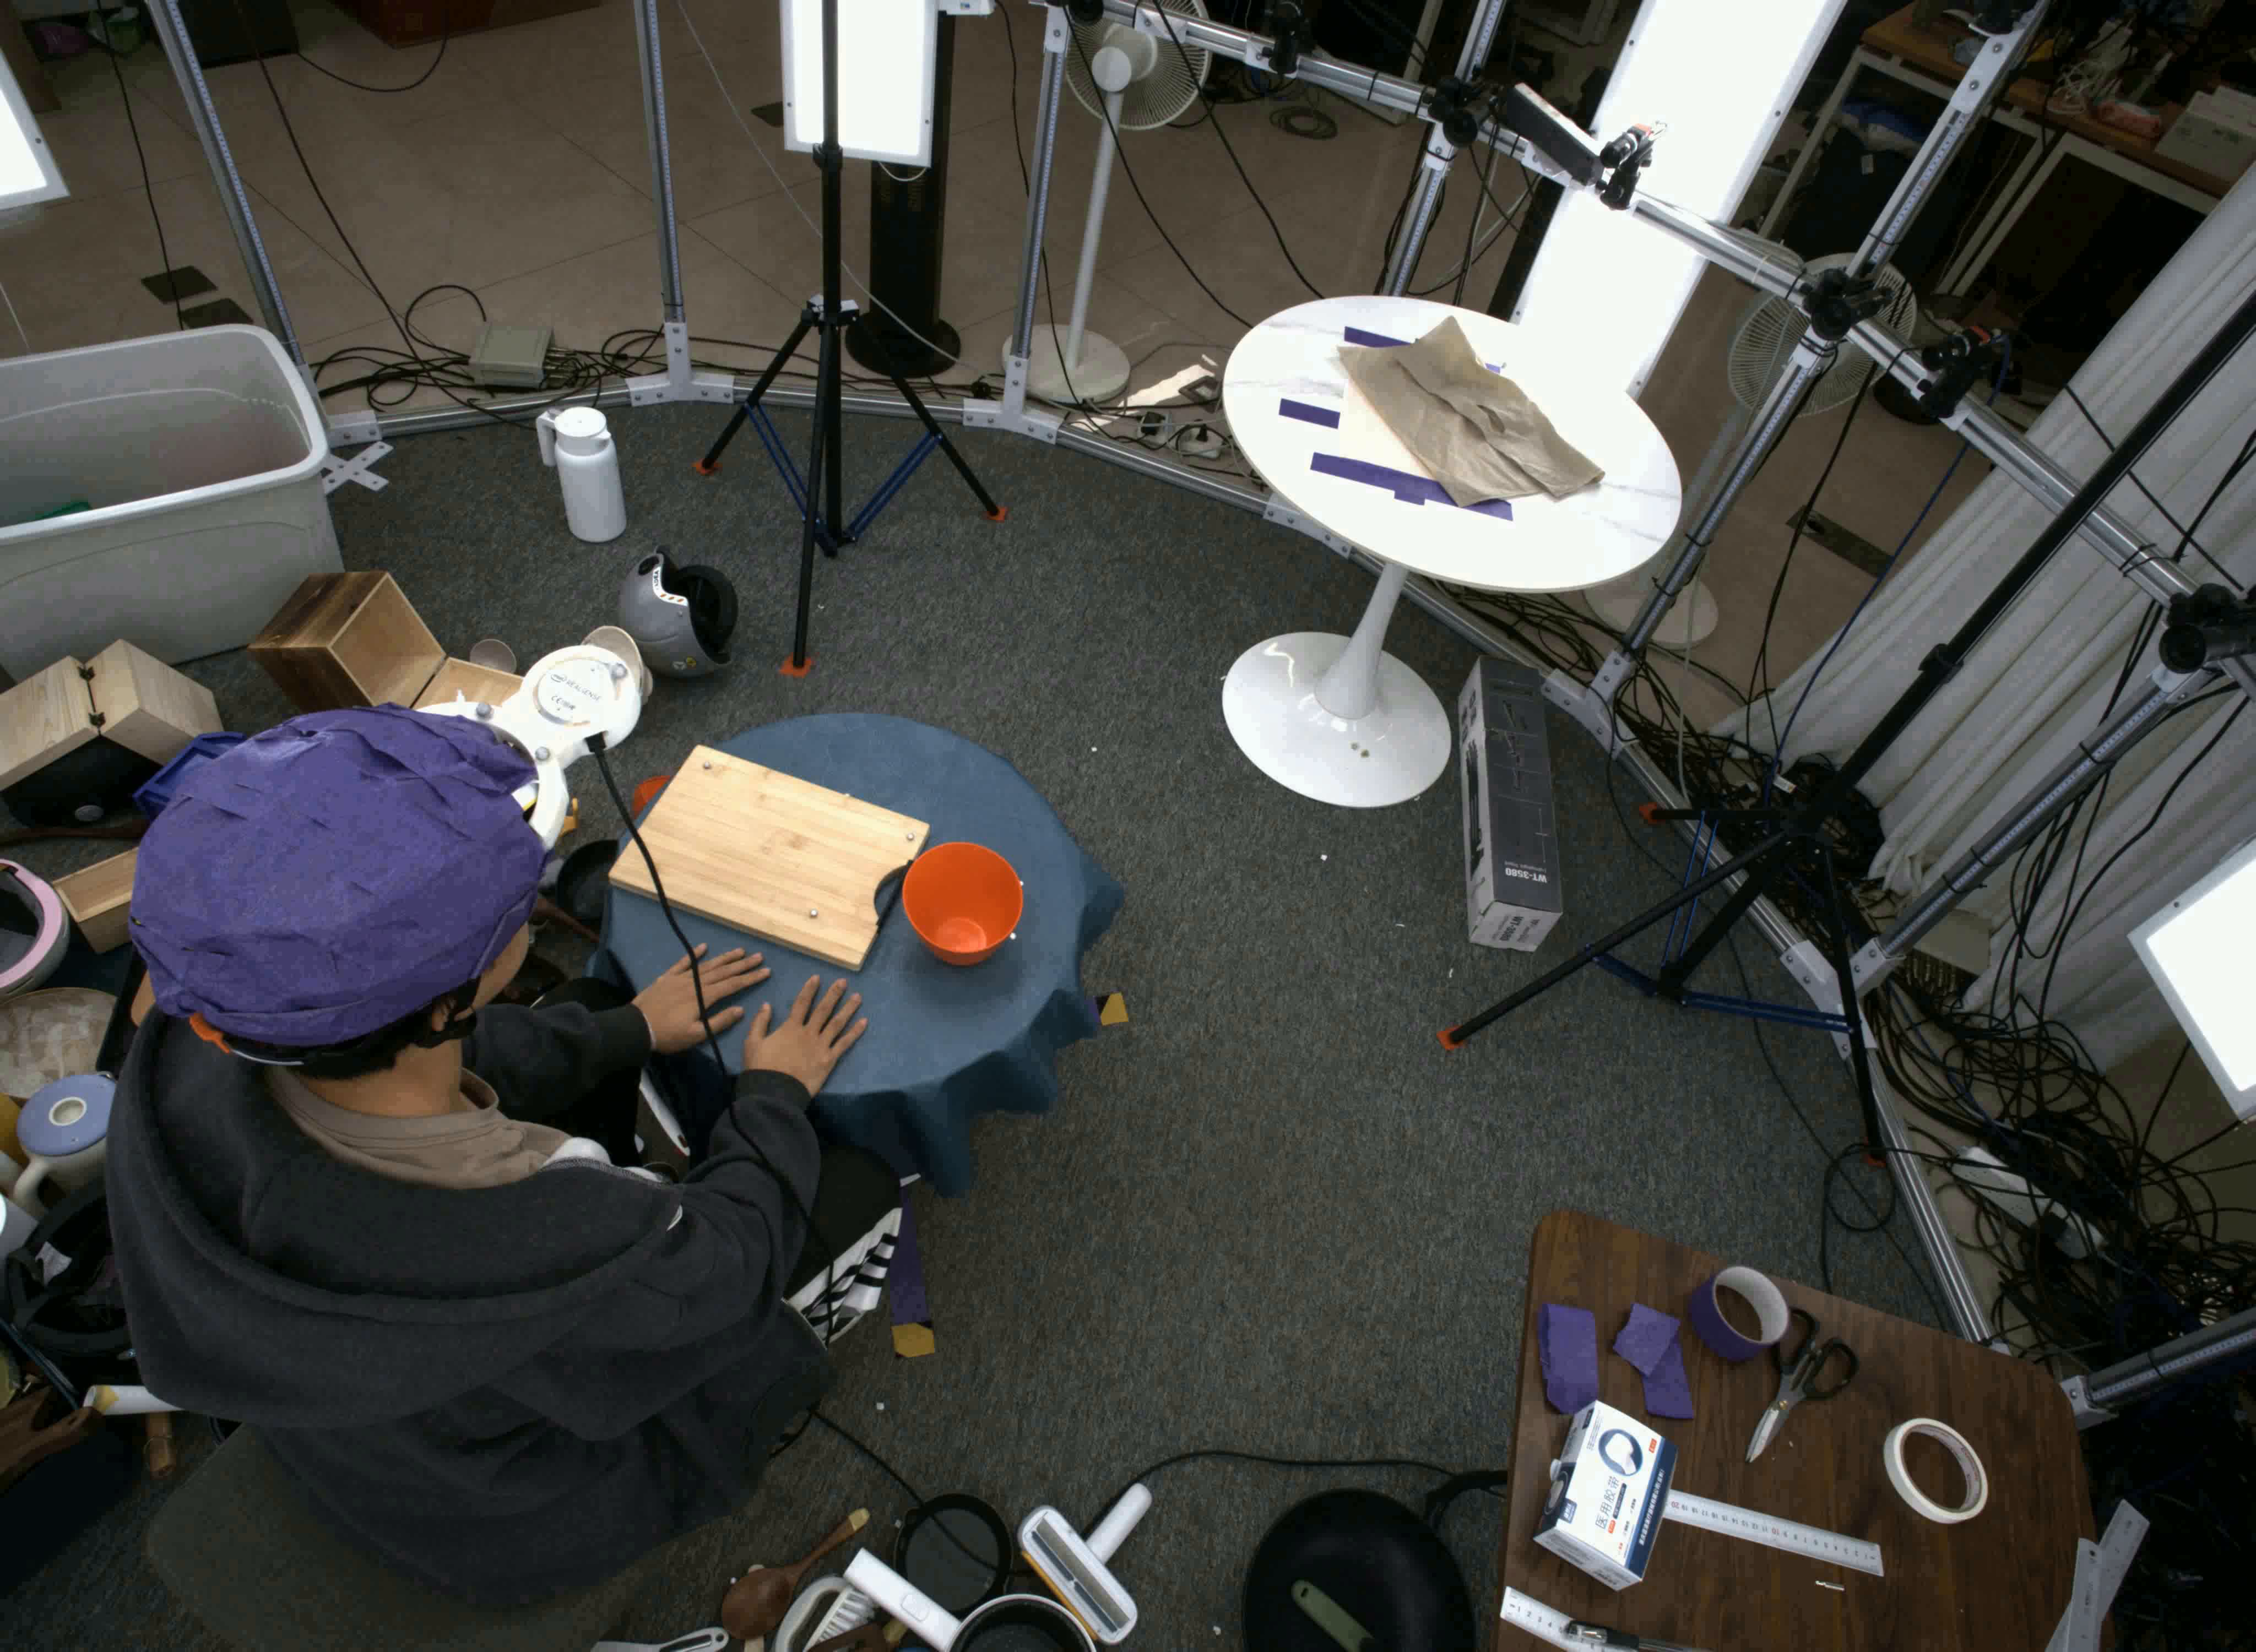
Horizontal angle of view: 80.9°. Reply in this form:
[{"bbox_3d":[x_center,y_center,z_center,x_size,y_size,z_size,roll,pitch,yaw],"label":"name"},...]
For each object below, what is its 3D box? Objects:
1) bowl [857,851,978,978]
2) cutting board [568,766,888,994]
[{"bbox_3d":[-0.262,0.120,1.615,0.148,0.107,0.145,8,51,-9],"label":"bowl"},{"bbox_3d":[-0.510,0.061,1.651,0.346,0.024,0.247,16,52,-2],"label":"cutting board"}]
